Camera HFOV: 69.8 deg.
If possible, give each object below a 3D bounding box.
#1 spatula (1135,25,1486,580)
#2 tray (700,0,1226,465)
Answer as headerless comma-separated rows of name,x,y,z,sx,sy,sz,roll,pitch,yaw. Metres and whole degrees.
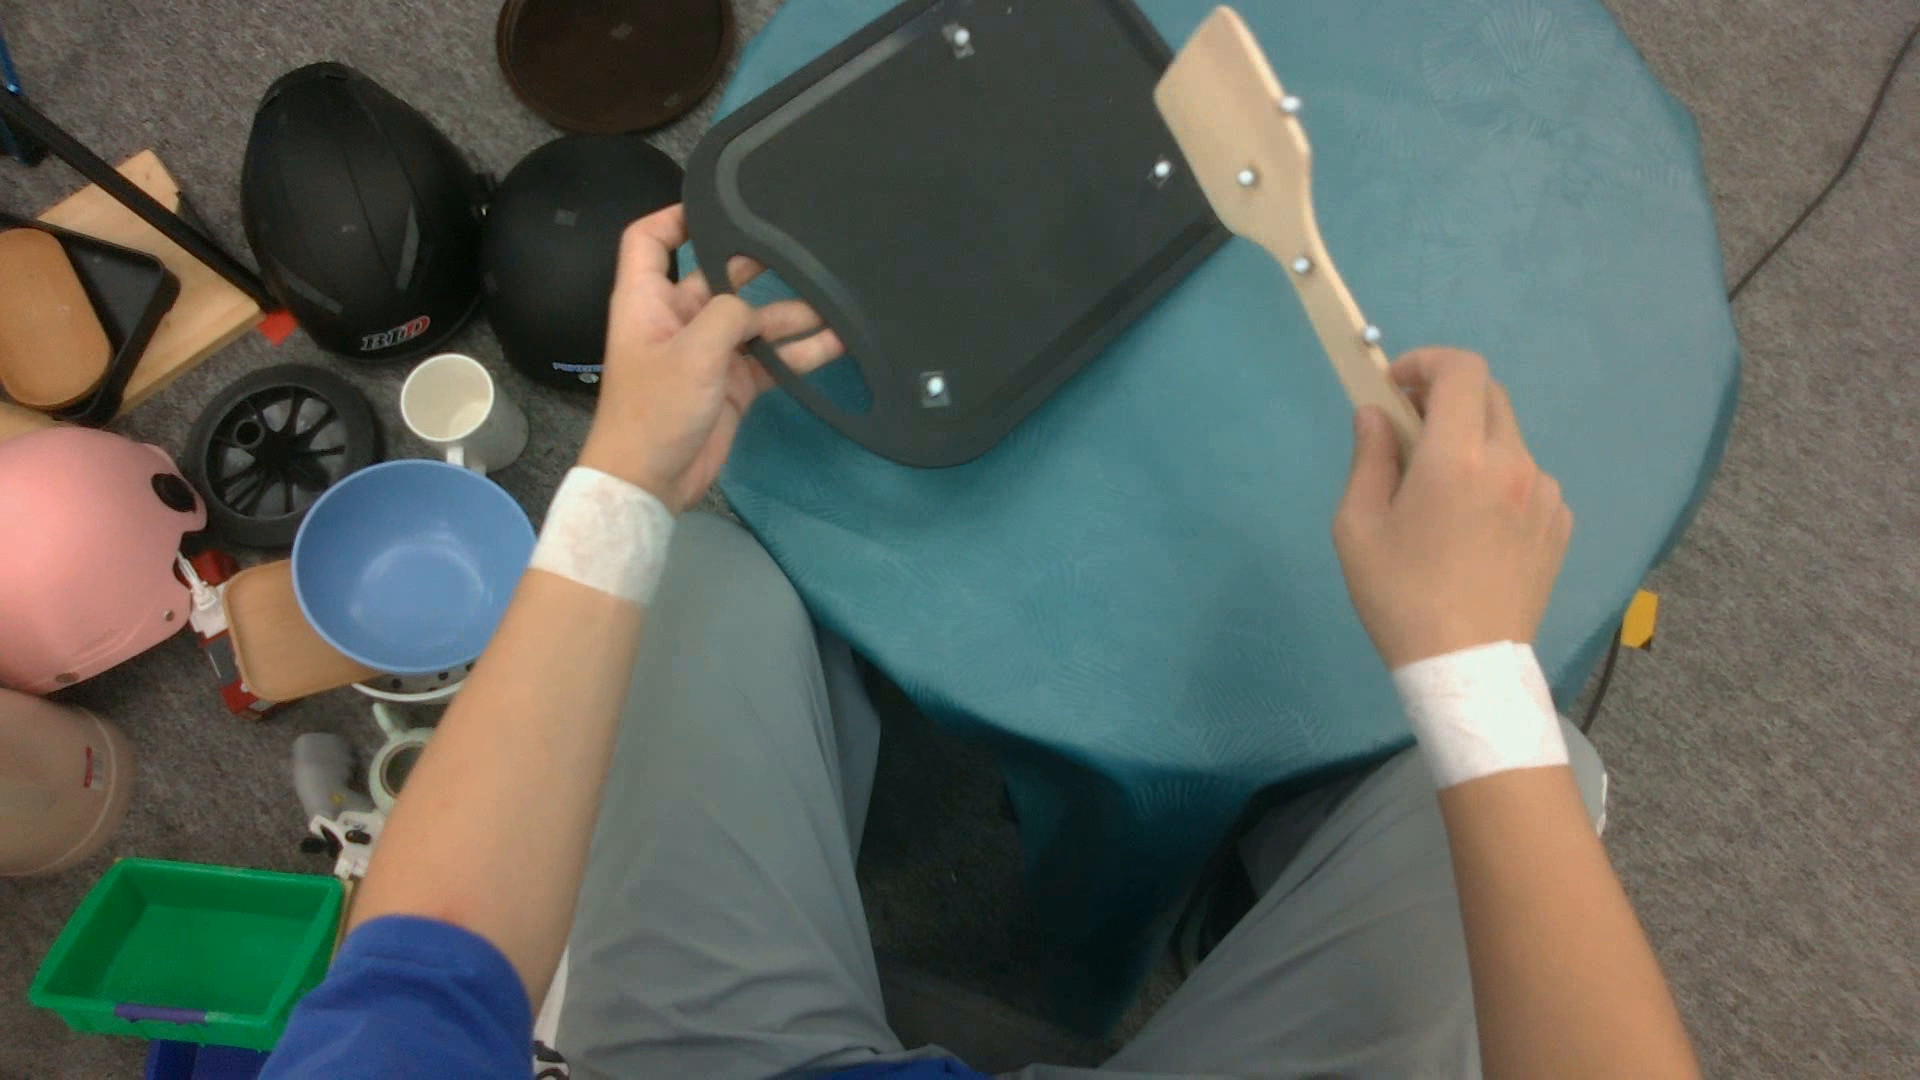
spatula,0.165,-0.111,0.650,0.011,0.072,0.293,-22,75,-21
tray,0.019,-0.190,0.742,0.326,0.010,0.211,-44,98,-24
